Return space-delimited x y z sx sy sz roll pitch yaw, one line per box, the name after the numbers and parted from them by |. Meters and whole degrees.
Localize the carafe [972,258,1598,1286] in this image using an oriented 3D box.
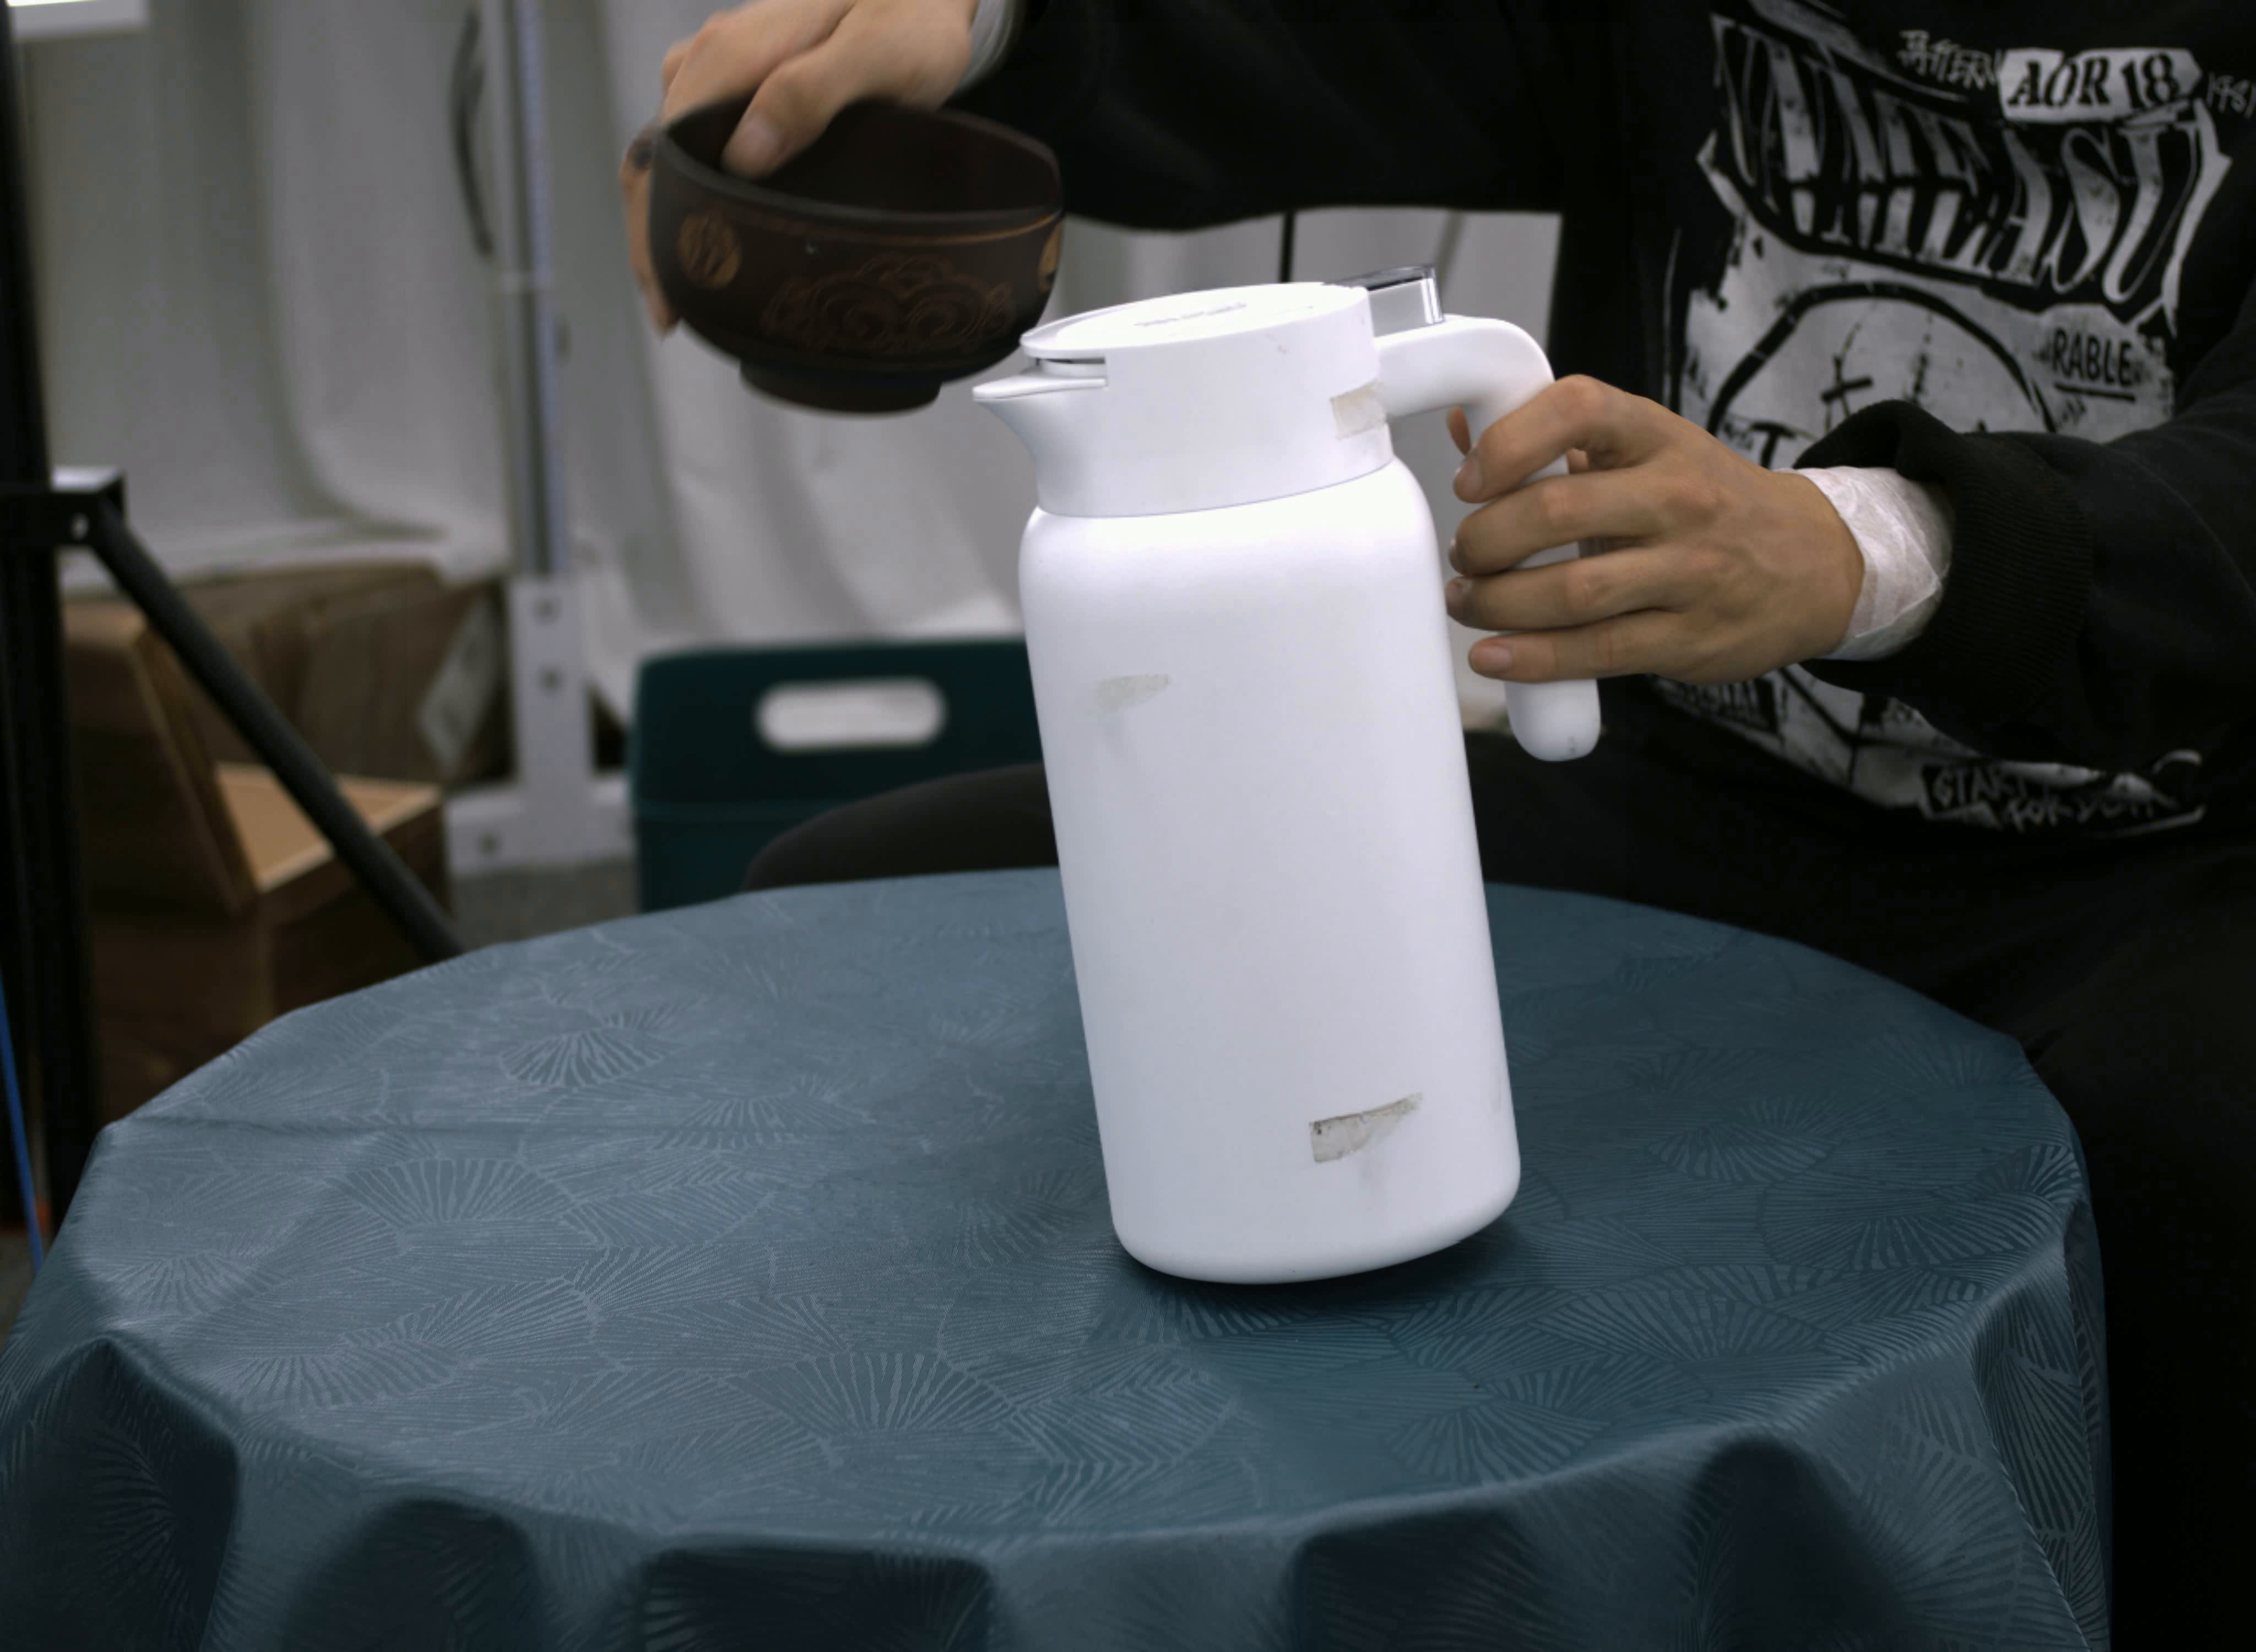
0.052 -0.018 1.484 0.169 0.269 0.126 -14 10 -24 | carafe

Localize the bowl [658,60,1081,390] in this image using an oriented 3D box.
-0.075 -0.164 1.500 0.117 0.070 0.119 6 23 -4 | bowl
